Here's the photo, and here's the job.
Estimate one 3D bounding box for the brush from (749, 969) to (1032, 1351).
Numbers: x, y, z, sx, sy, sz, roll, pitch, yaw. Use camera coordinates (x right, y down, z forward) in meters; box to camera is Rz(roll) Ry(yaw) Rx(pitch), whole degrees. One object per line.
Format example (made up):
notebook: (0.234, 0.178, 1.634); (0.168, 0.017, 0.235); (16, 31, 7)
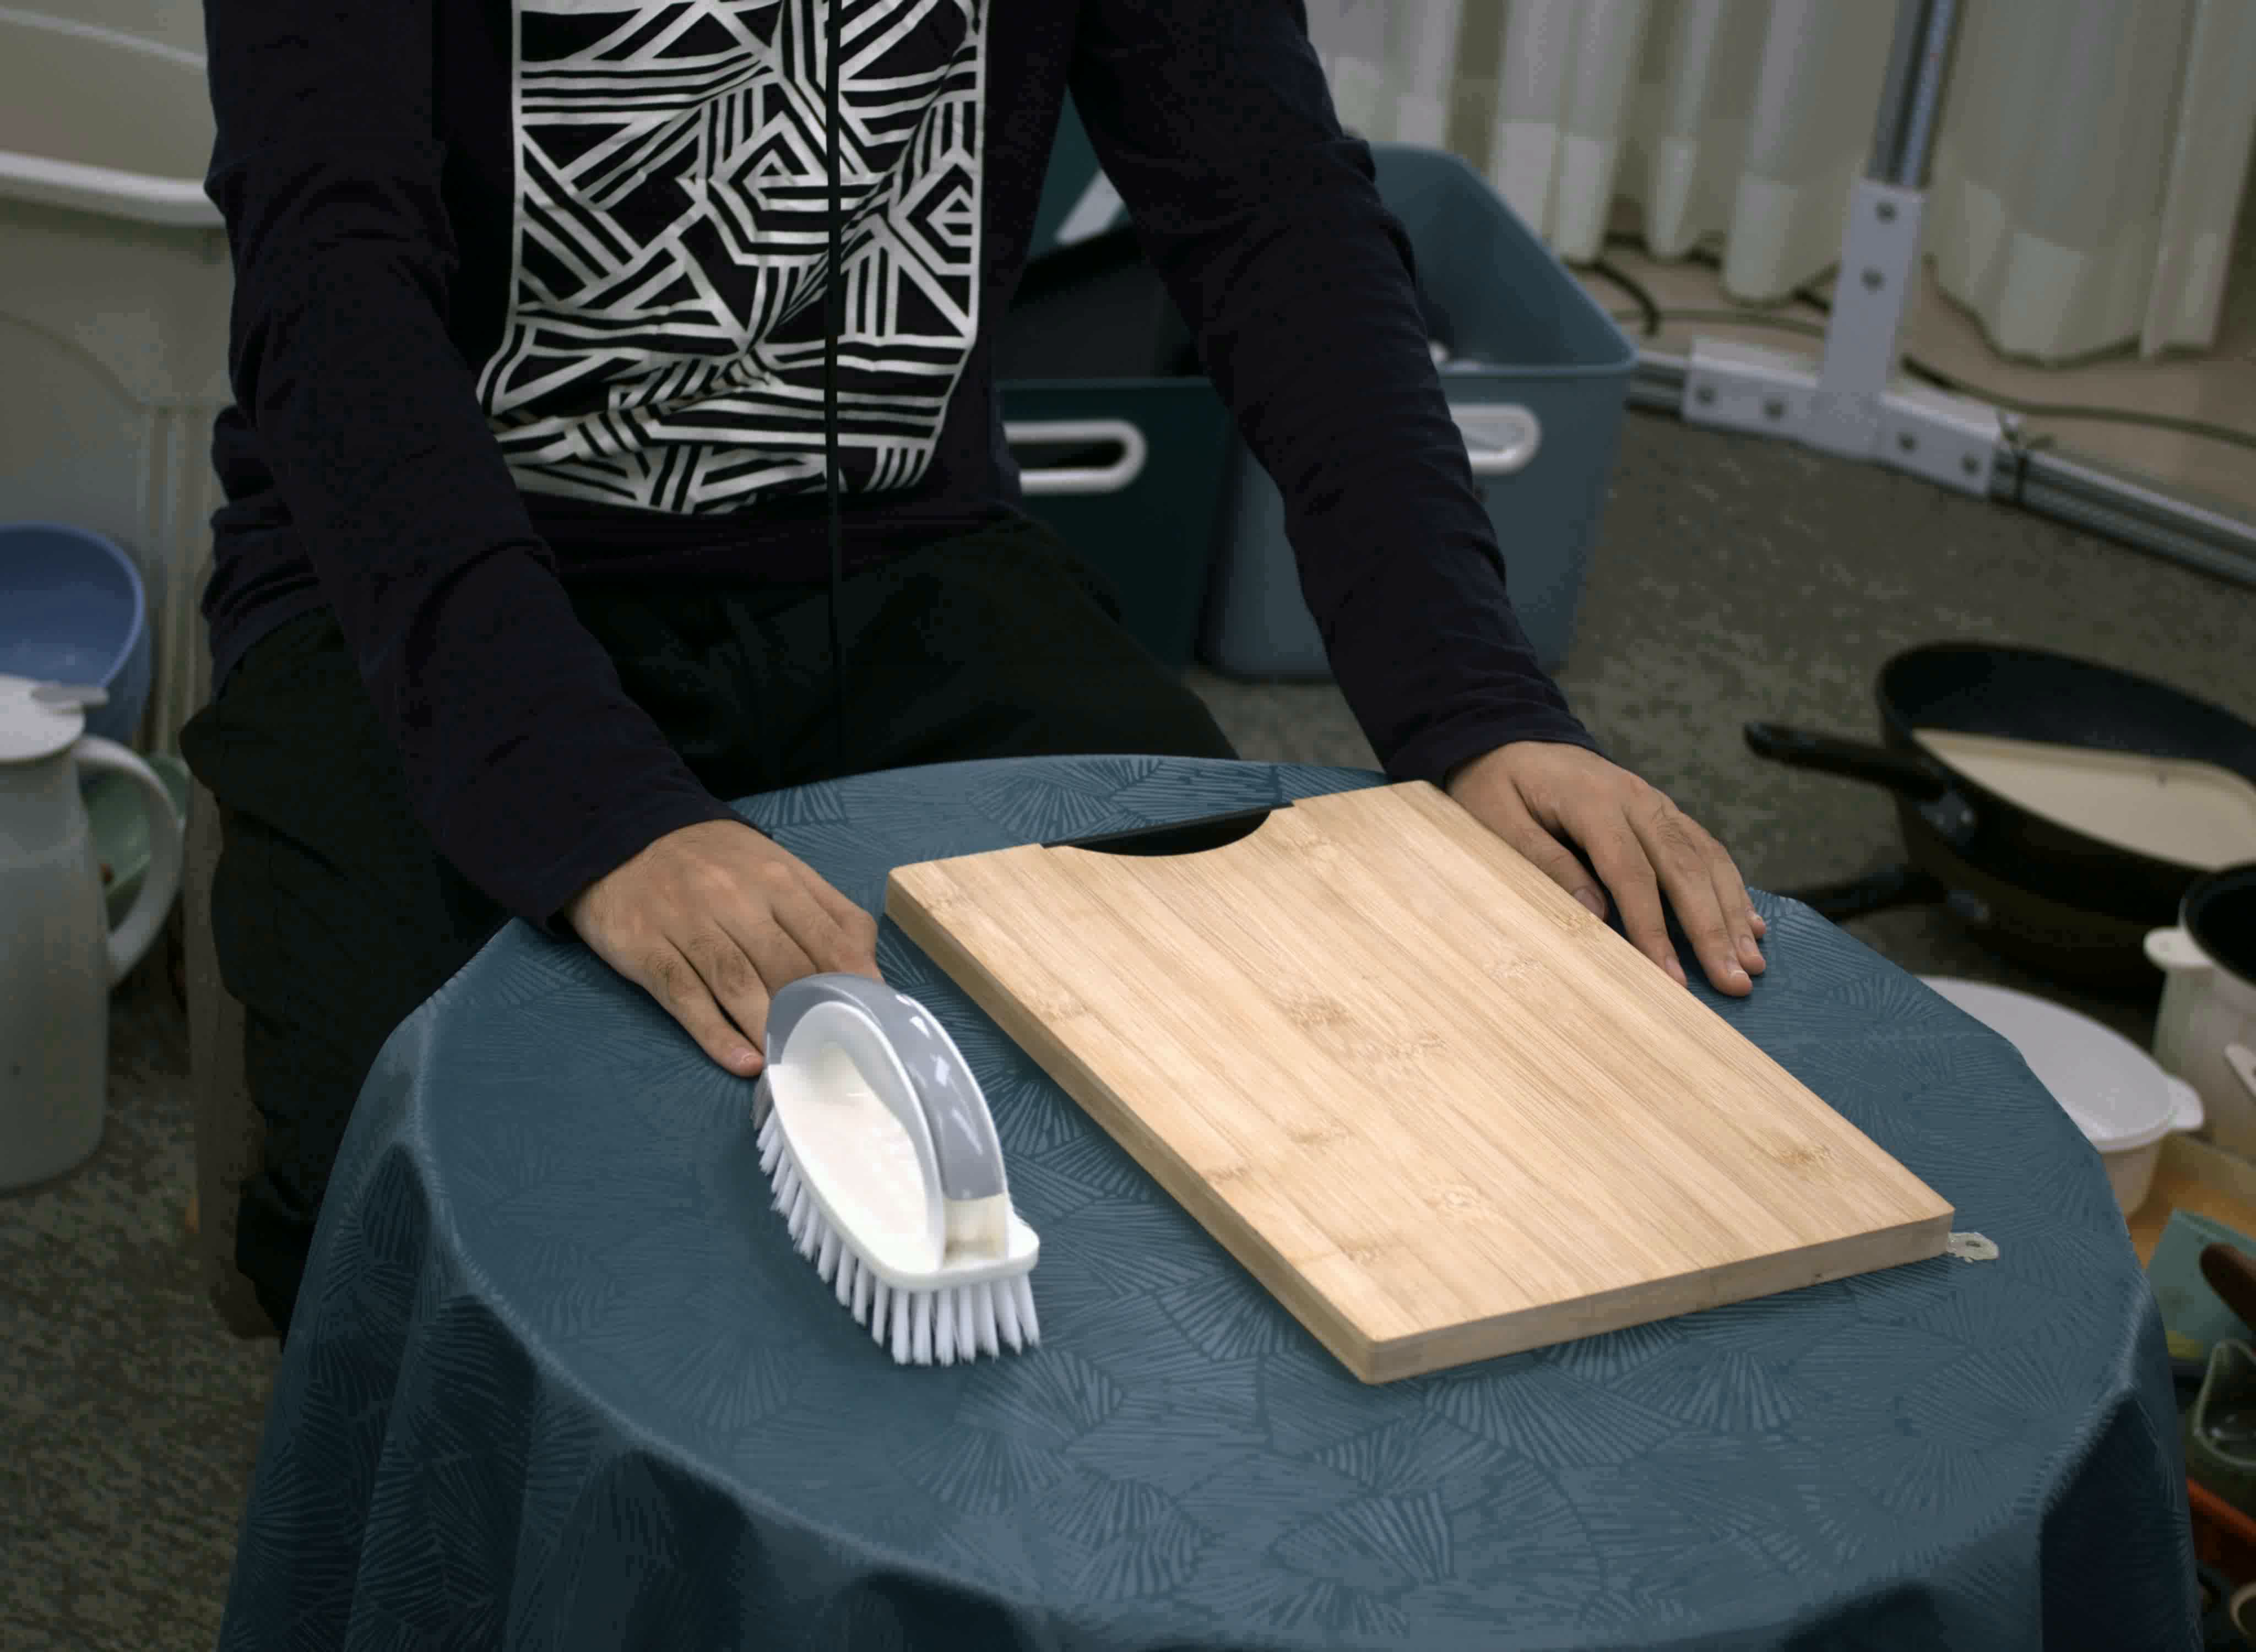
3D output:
brush: (-0.085, 0.094, 1.745); (0.061, 0.094, 0.177); (-5, 27, -25)

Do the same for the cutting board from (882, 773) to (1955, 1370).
cutting board: (0.095, 0.080, 1.896); (0.249, 0.023, 0.352); (-10, 31, -29)
